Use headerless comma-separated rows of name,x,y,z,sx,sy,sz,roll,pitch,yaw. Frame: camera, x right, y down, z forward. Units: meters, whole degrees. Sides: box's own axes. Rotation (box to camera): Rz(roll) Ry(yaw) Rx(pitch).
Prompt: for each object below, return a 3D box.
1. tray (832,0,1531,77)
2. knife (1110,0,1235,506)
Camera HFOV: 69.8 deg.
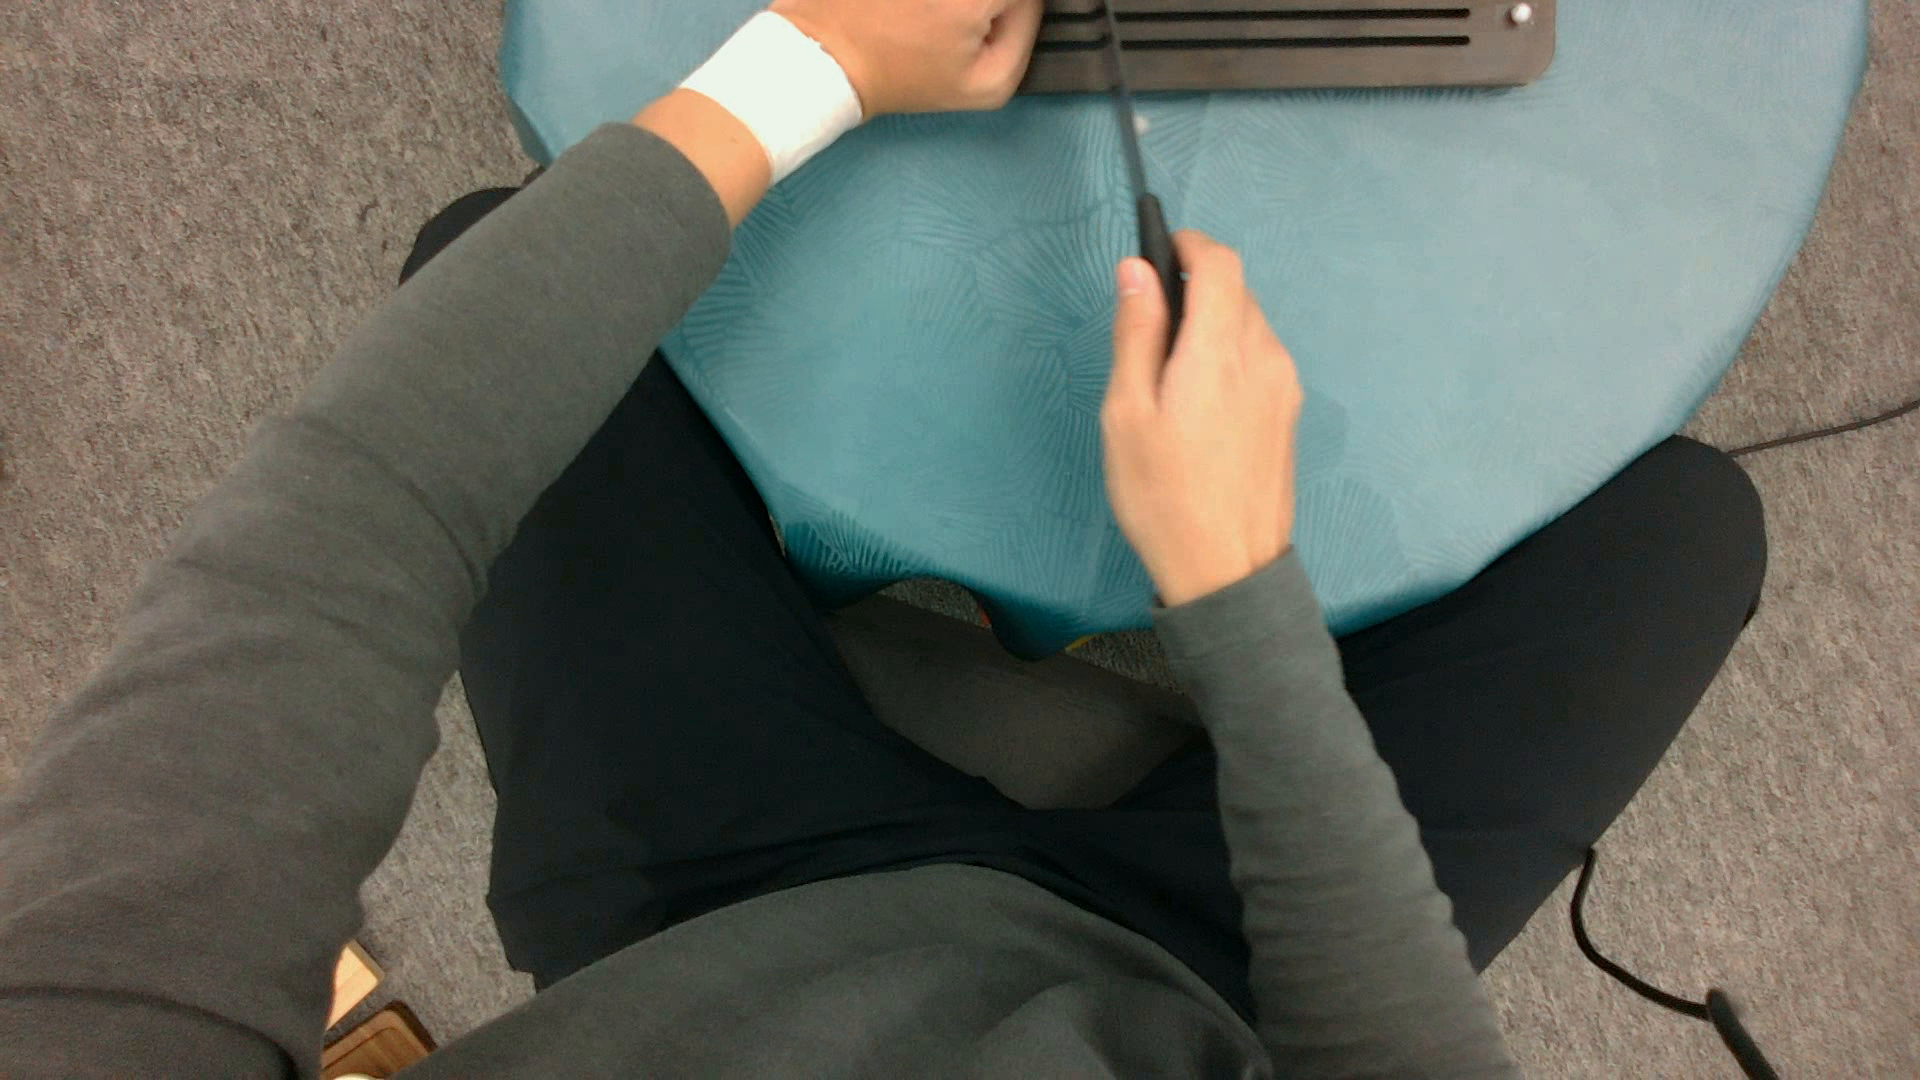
tray,0.096,-0.289,0.598,0.306,0.018,0.170,-1,95,-2
knife,0.072,-0.160,0.548,0.021,0.081,0.302,-11,95,9
